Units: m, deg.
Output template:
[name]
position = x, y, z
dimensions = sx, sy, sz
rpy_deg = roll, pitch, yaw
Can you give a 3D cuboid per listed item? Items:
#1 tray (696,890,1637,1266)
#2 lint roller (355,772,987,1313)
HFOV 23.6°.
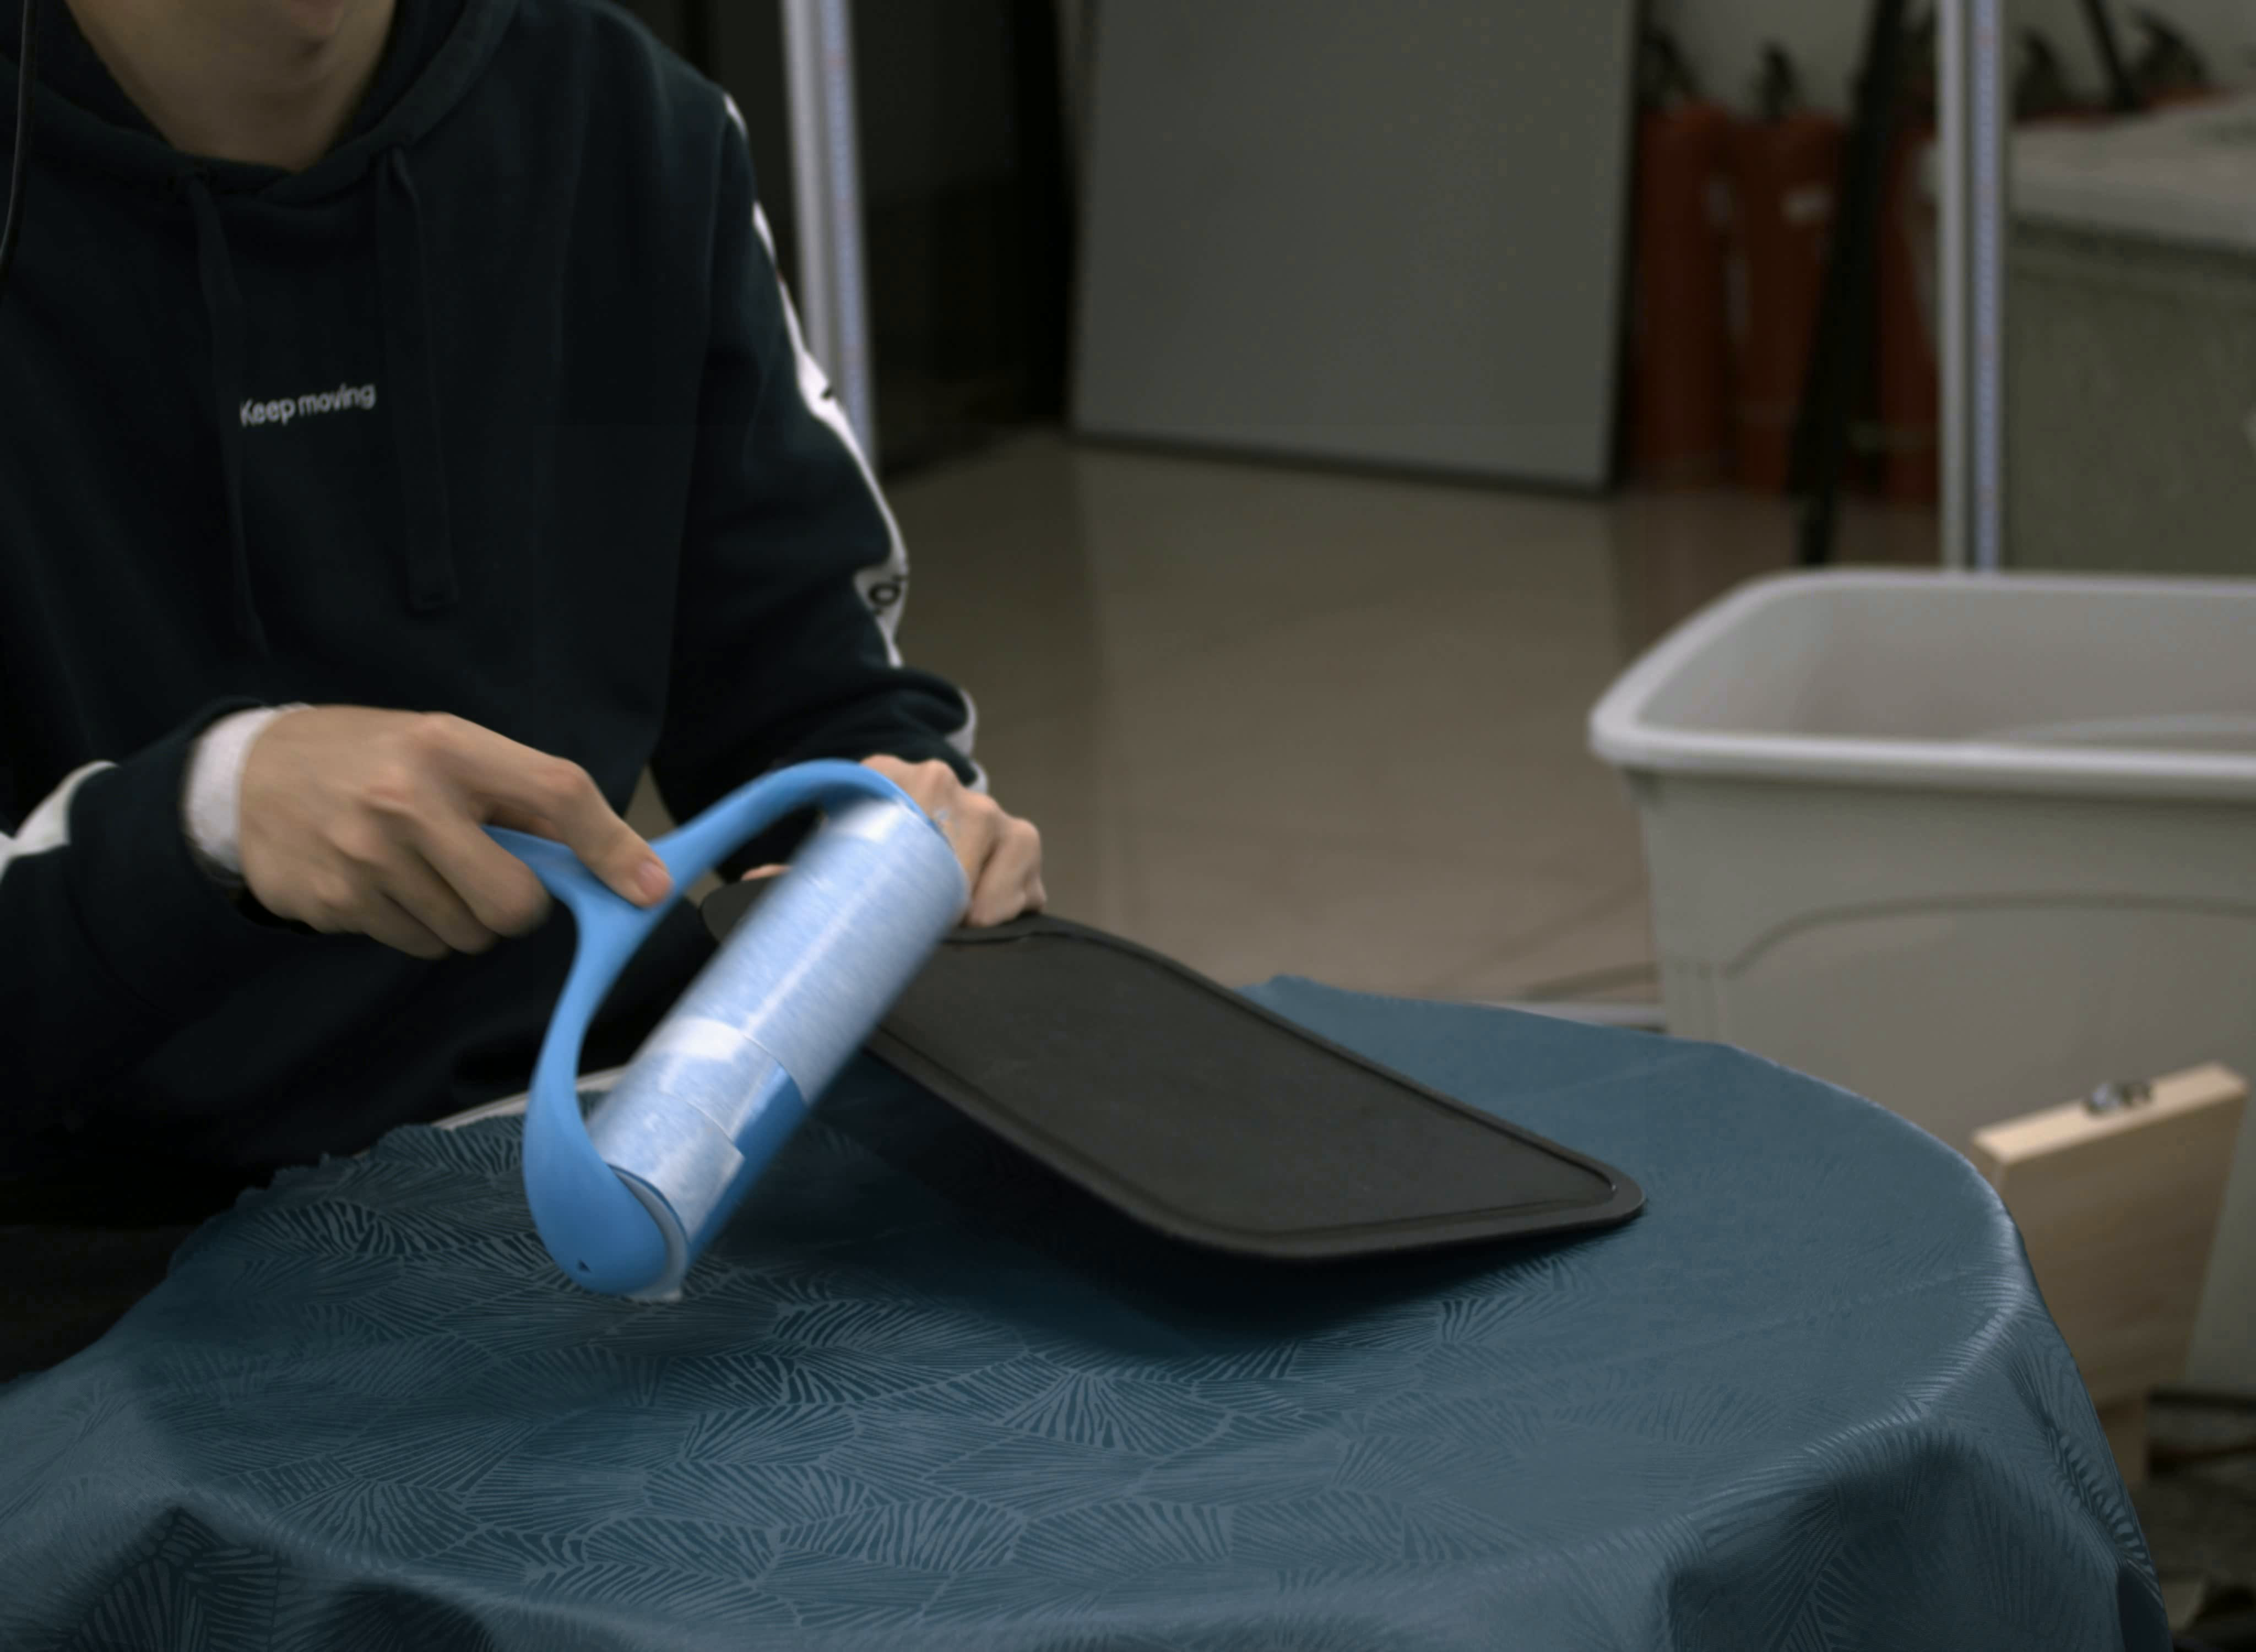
[tray]
position = 0.004, 0.075, 1.770
dimensions = 0.206, 0.010, 0.329
rpy_deg = -1, 20, -40
[lint roller]
position = -0.160, 0.043, 1.688
dimensions = 0.179, 0.068, 0.228
rpy_deg = 26, 45, 8
